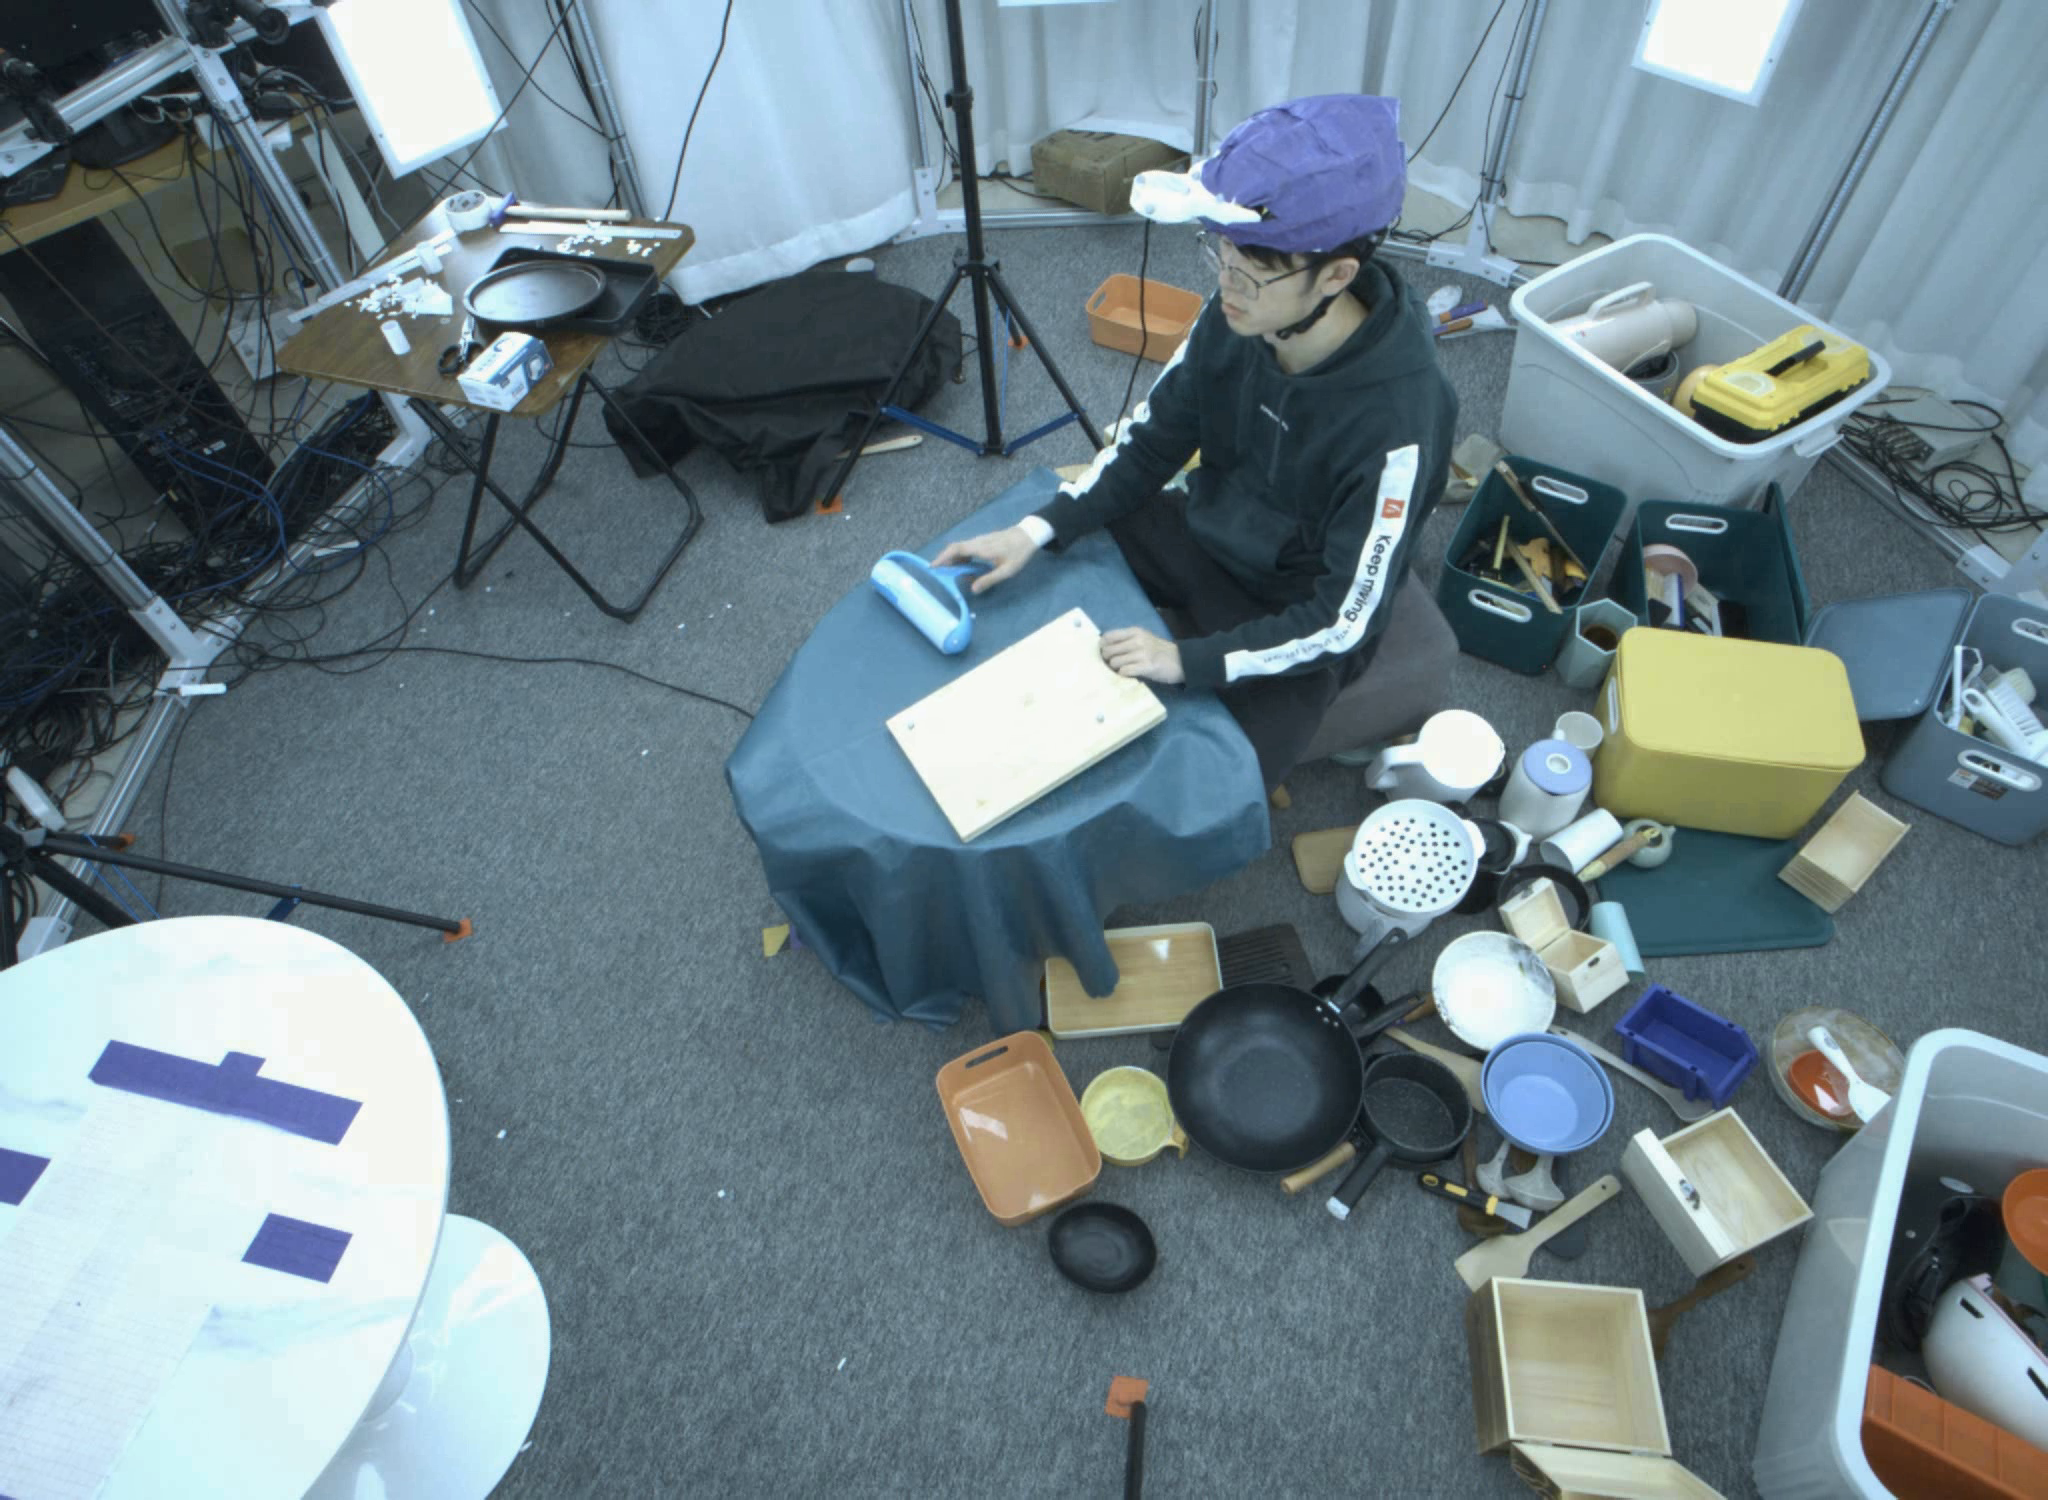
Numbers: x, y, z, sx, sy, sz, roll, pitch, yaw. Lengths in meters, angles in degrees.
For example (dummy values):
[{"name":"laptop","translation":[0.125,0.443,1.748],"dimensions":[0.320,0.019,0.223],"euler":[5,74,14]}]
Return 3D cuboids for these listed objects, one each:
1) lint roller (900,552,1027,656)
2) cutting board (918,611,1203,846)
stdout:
[{"name":"lint roller","translation":[-0.073,-0.257,1.933],"dimensions":[0.181,0.069,0.224],"euler":[-36,59,-20]},{"name":"cutting board","translation":[0.045,-0.039,1.768],"dimensions":[0.350,0.024,0.246],"euler":[-31,59,-8]}]
